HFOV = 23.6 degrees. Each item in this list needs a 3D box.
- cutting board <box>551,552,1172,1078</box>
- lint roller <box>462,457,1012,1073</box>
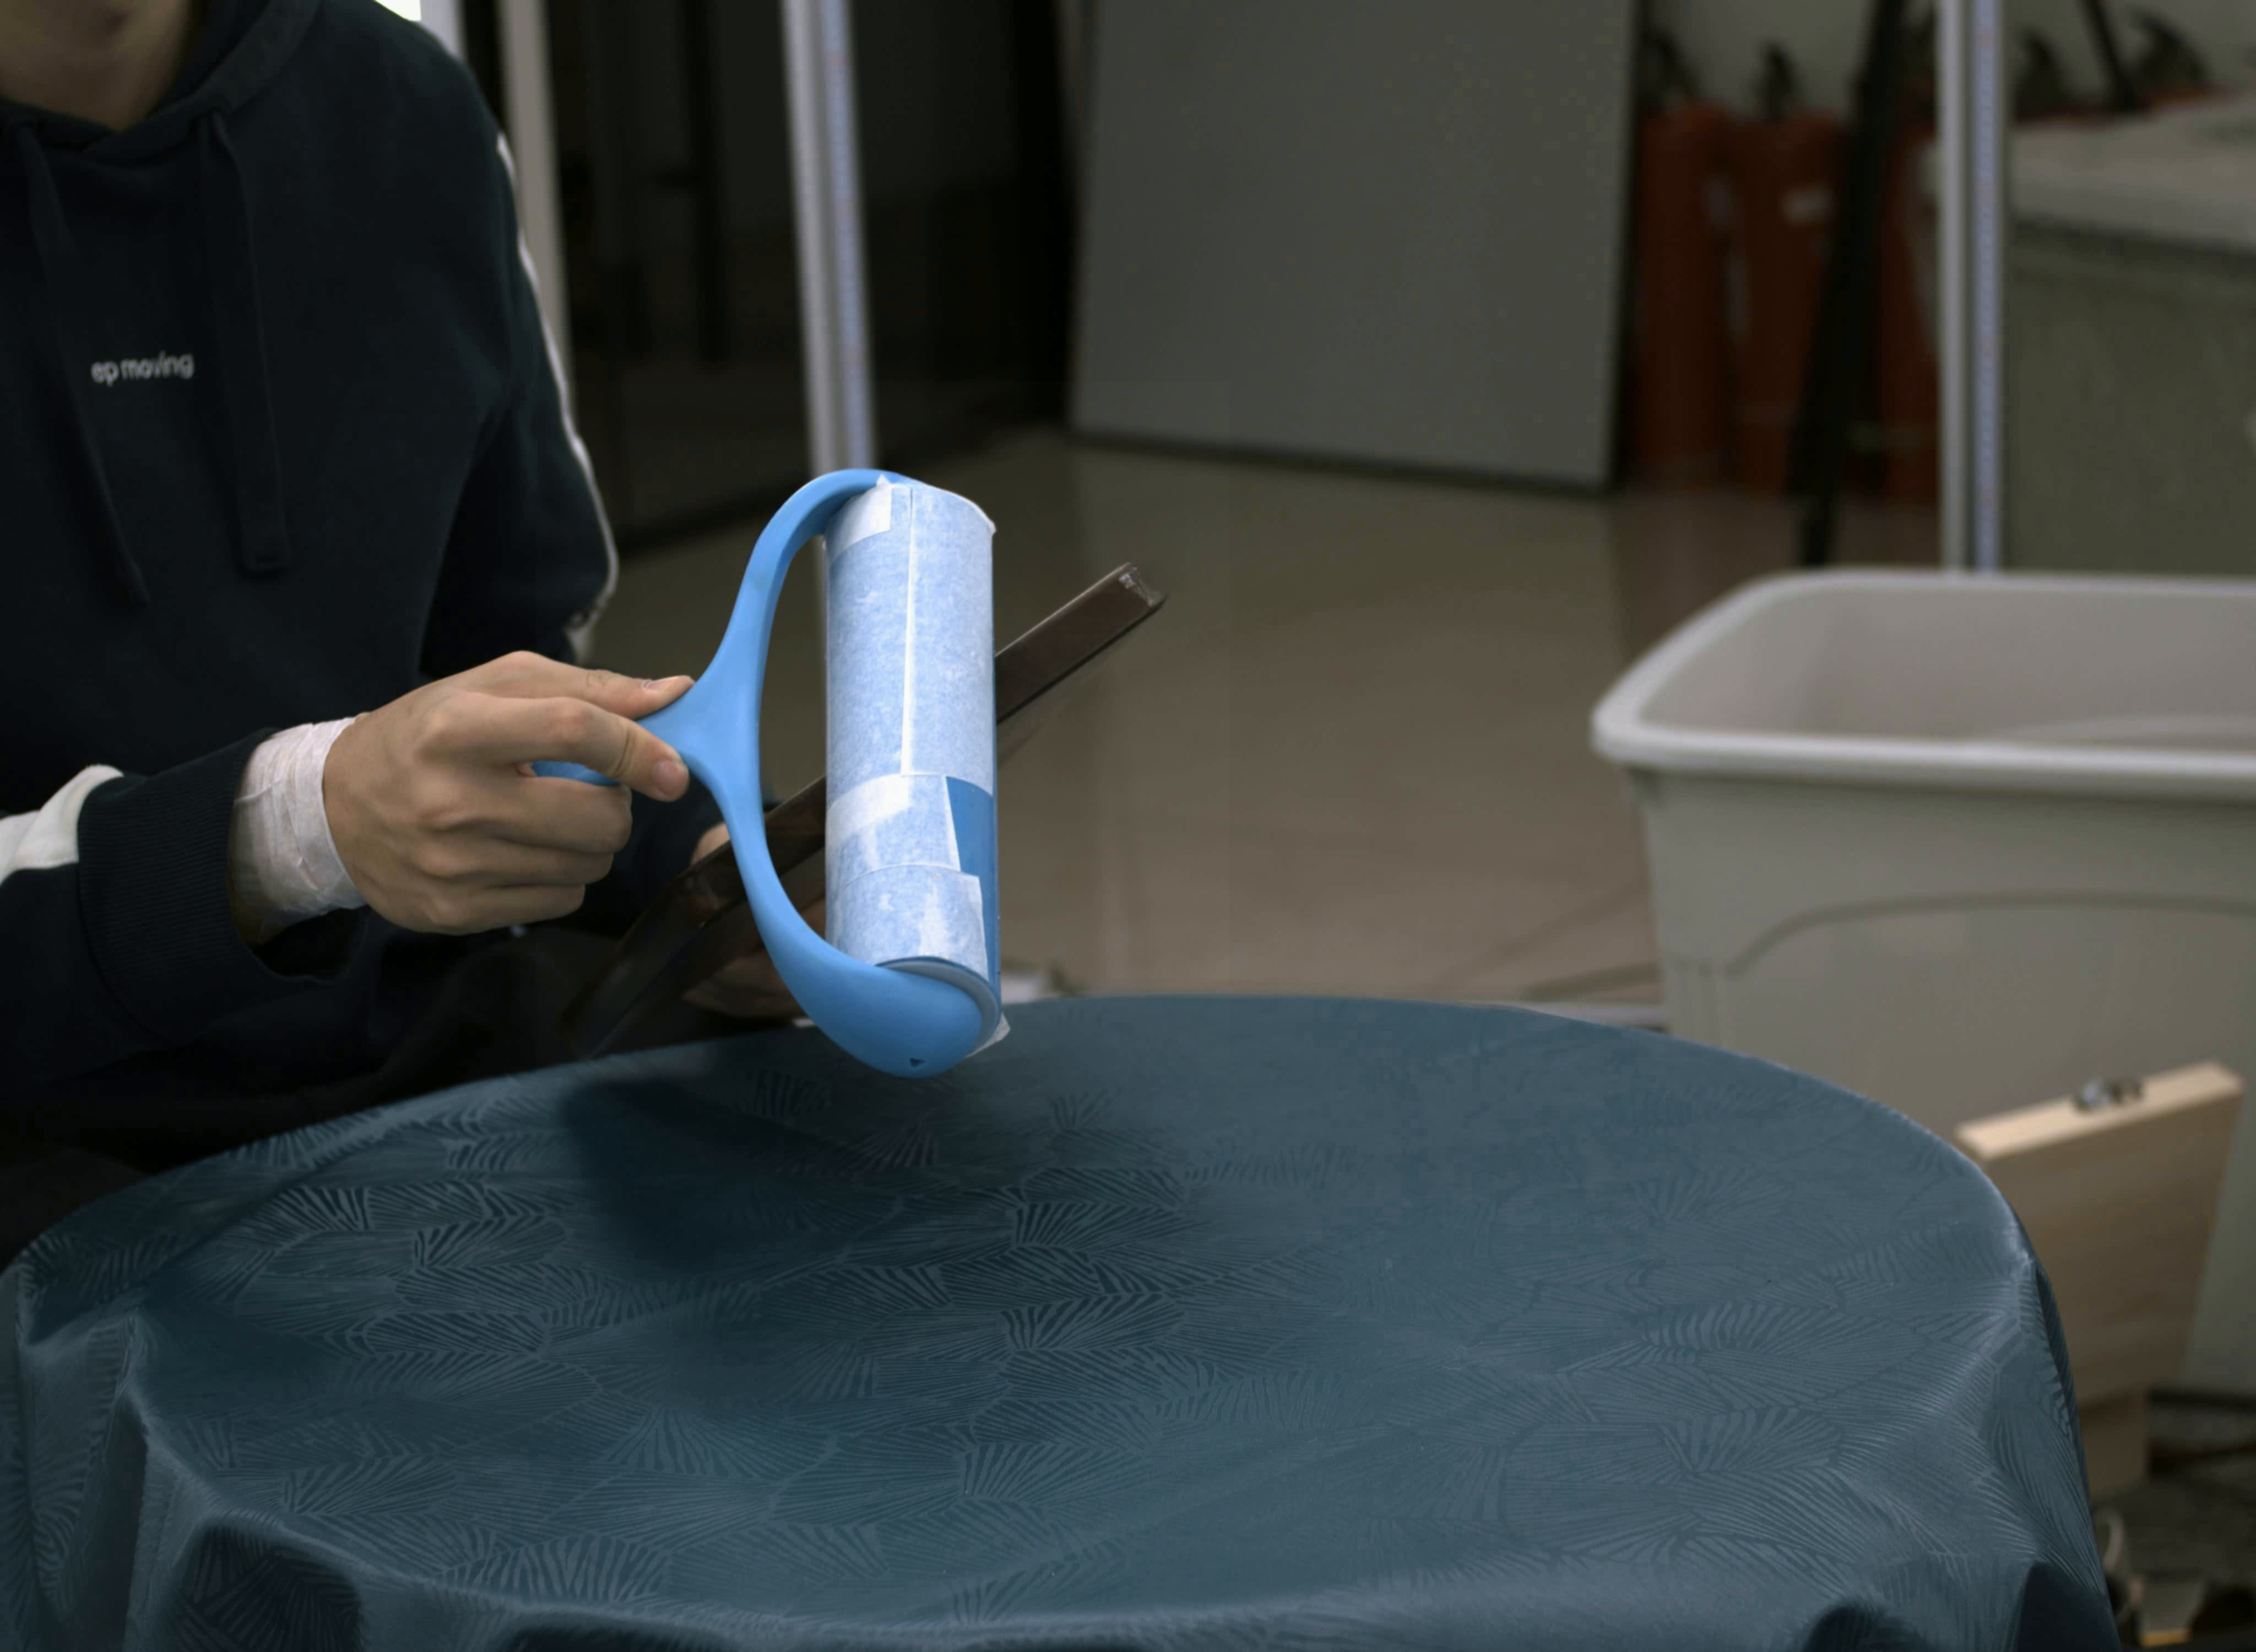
[{"bbox_3d":[-0.107,0.012,1.877,0.199,0.023,0.354,-36,-3,-20],"label":"cutting board"},{"bbox_3d":[-0.124,-0.013,1.669,0.178,0.068,0.231,-9,51,4],"label":"lint roller"}]
